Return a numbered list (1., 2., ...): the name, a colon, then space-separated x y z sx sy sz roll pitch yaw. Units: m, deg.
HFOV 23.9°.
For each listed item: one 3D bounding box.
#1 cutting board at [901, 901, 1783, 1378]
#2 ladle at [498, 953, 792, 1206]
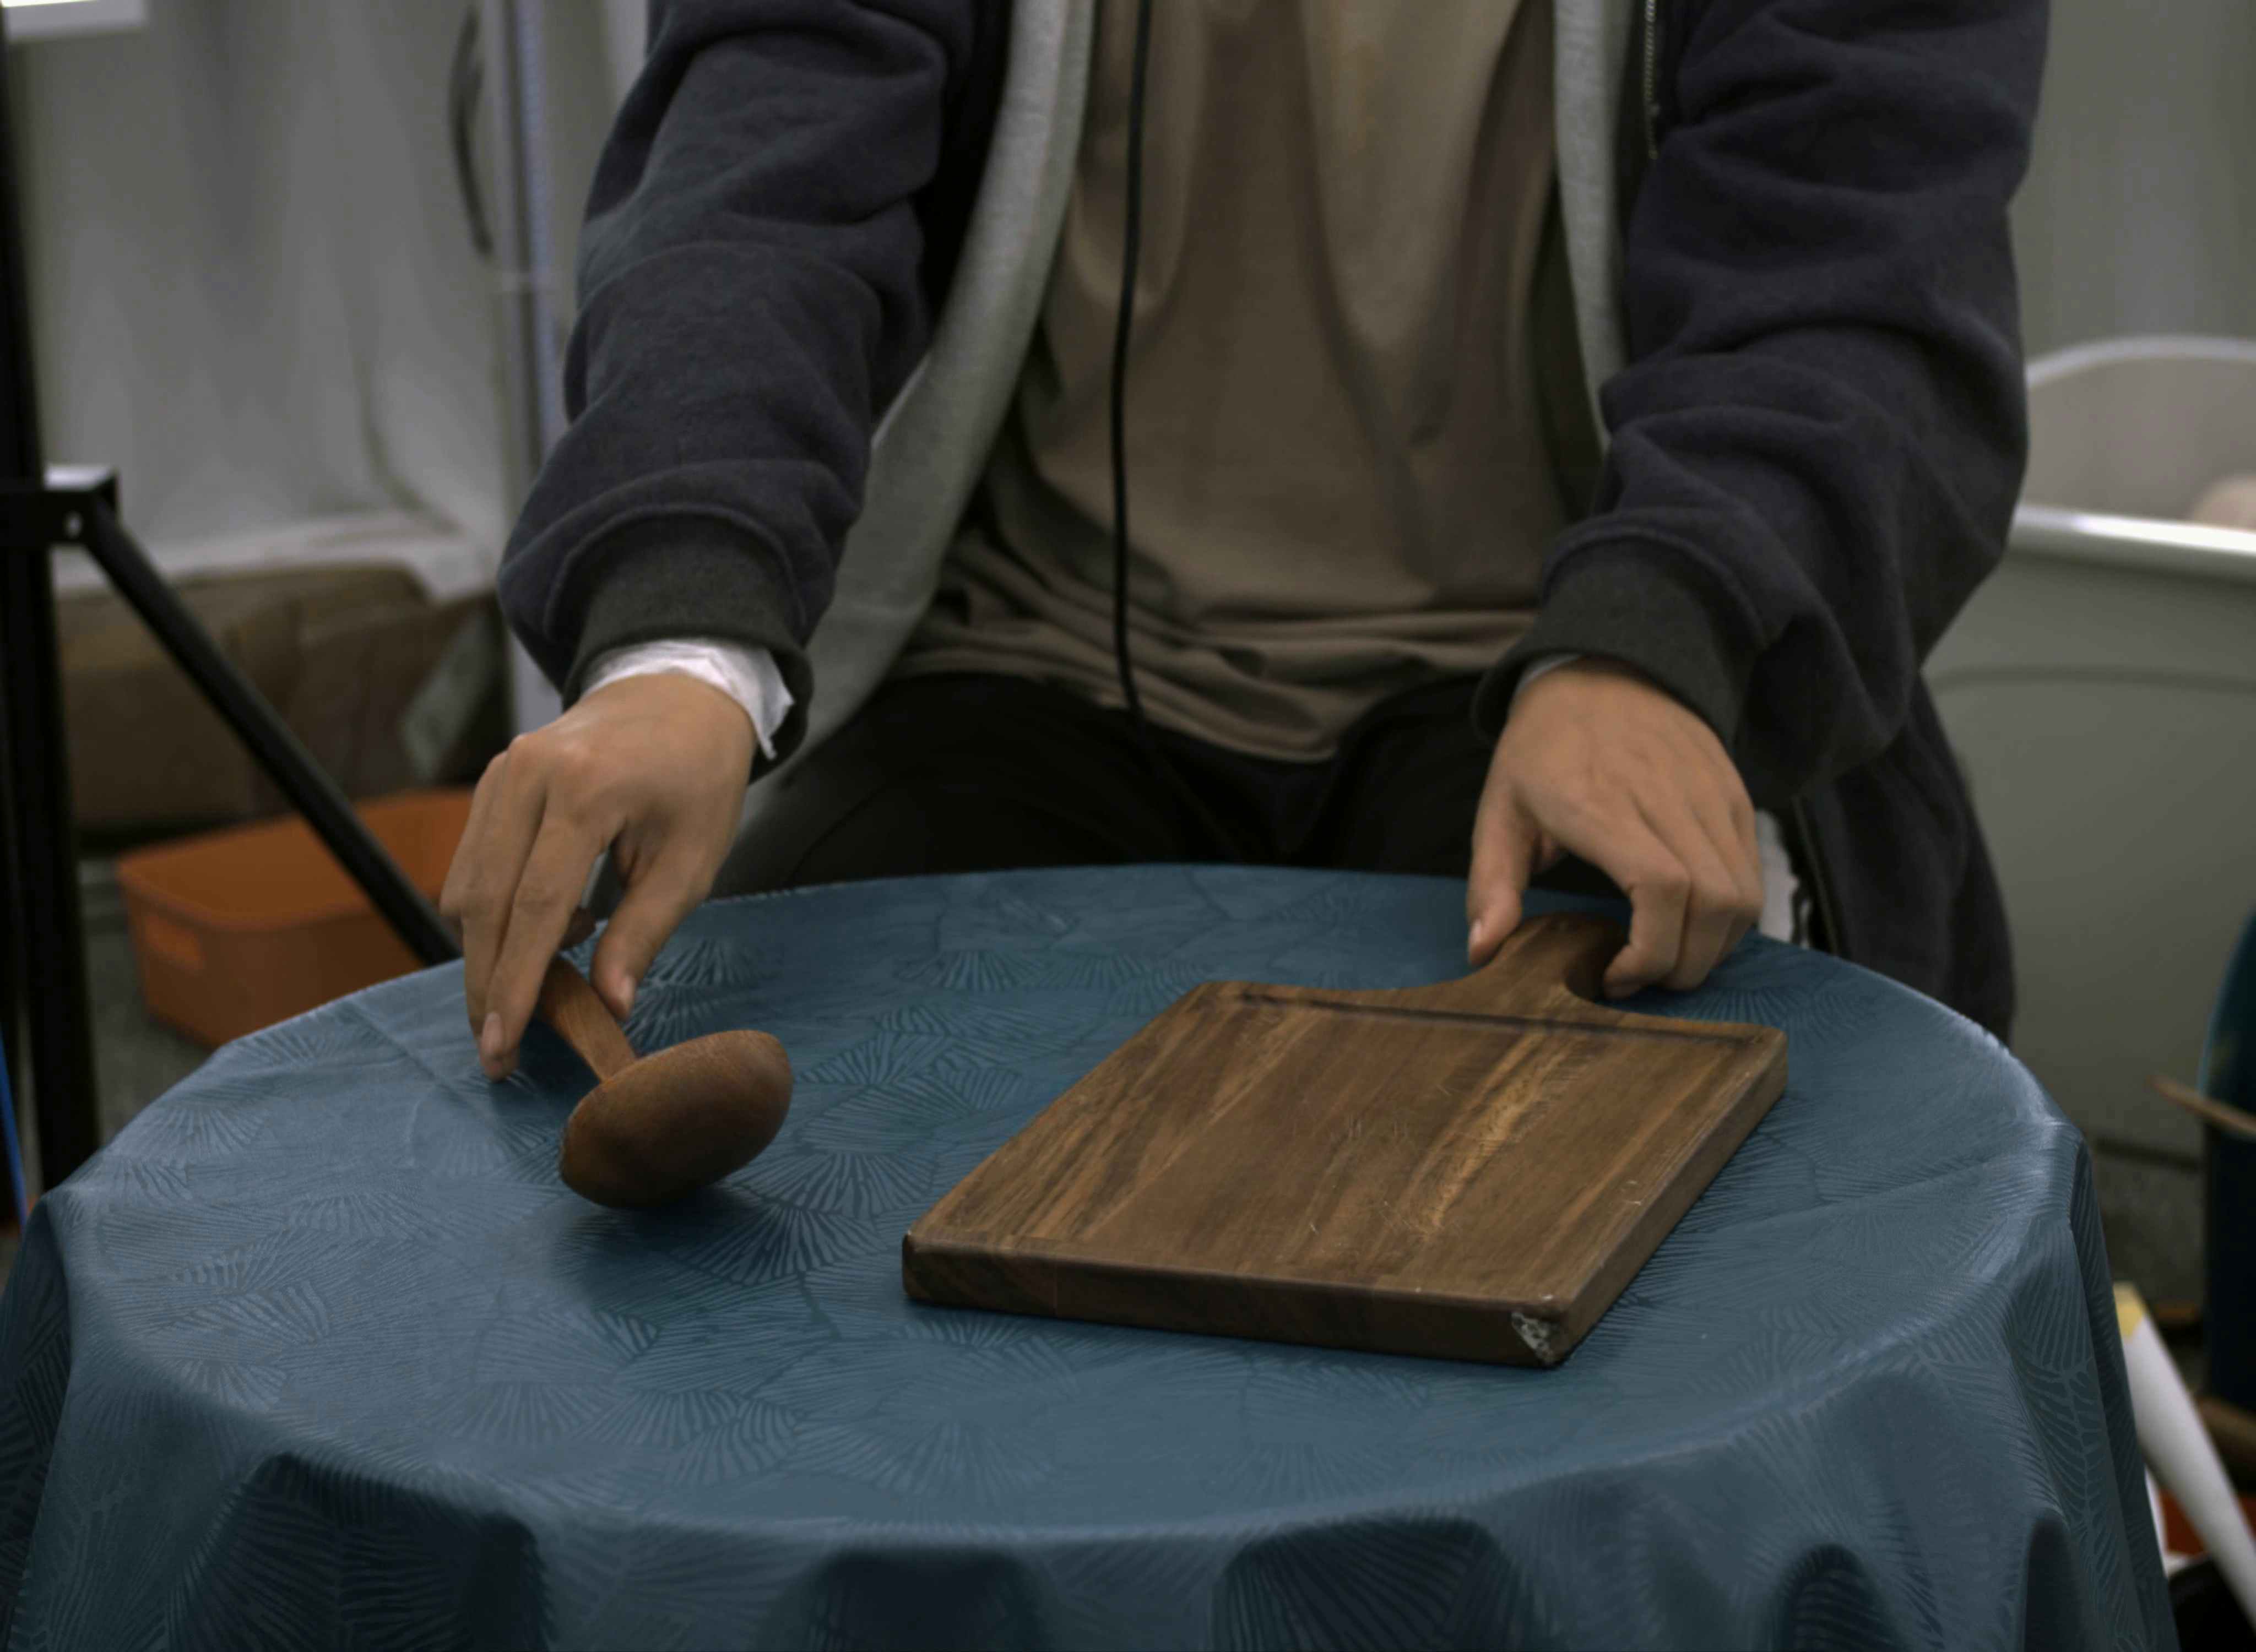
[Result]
1. cutting board: 0.086 0.083 1.592 0.203 0.023 0.348 5 18 21
2. ladle: -0.162 0.060 1.638 0.075 0.065 0.264 -17 19 -13
